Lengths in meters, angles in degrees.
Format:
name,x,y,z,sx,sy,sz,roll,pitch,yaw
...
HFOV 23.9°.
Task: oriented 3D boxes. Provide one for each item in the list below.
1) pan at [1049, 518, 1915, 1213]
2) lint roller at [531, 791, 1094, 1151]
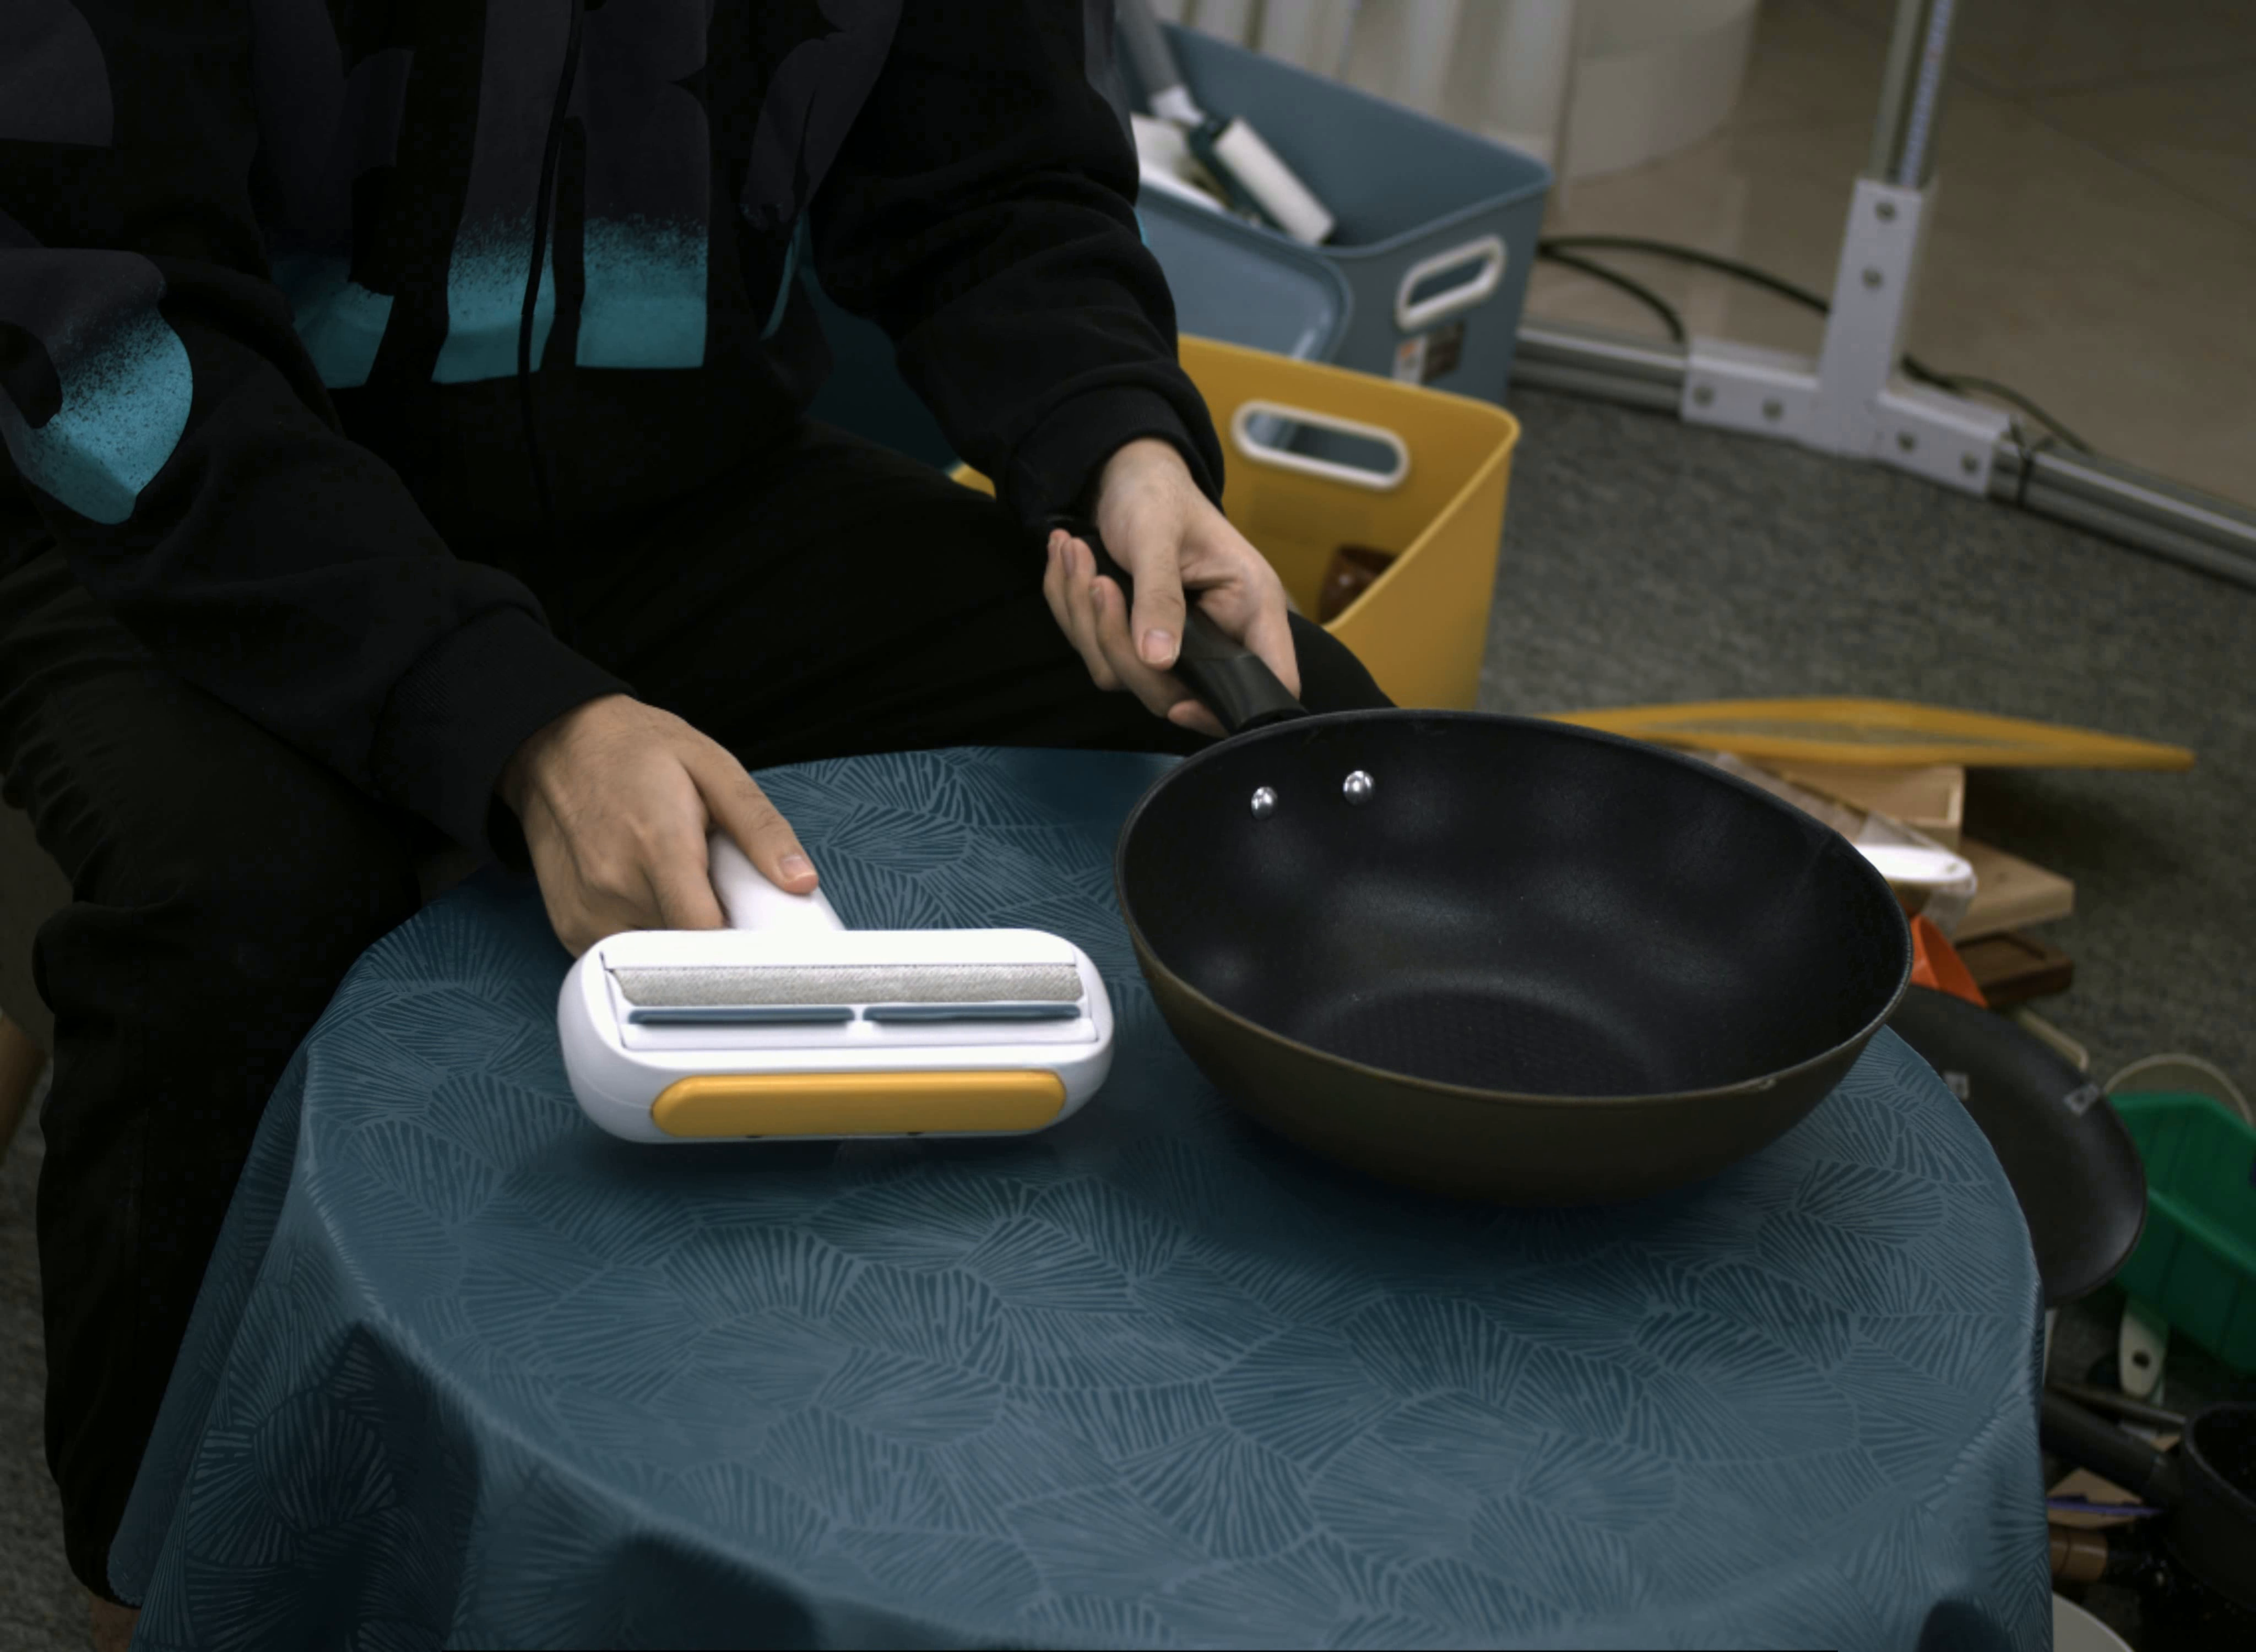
name,x,y,z,sx,sy,sz,roll,pitch,yaw
pan,0.083,0.017,1.931,0.286,0.086,0.467,-10,32,-29
lint roller,-0.120,0.039,1.837,0.192,0.074,0.194,-1,40,-17
